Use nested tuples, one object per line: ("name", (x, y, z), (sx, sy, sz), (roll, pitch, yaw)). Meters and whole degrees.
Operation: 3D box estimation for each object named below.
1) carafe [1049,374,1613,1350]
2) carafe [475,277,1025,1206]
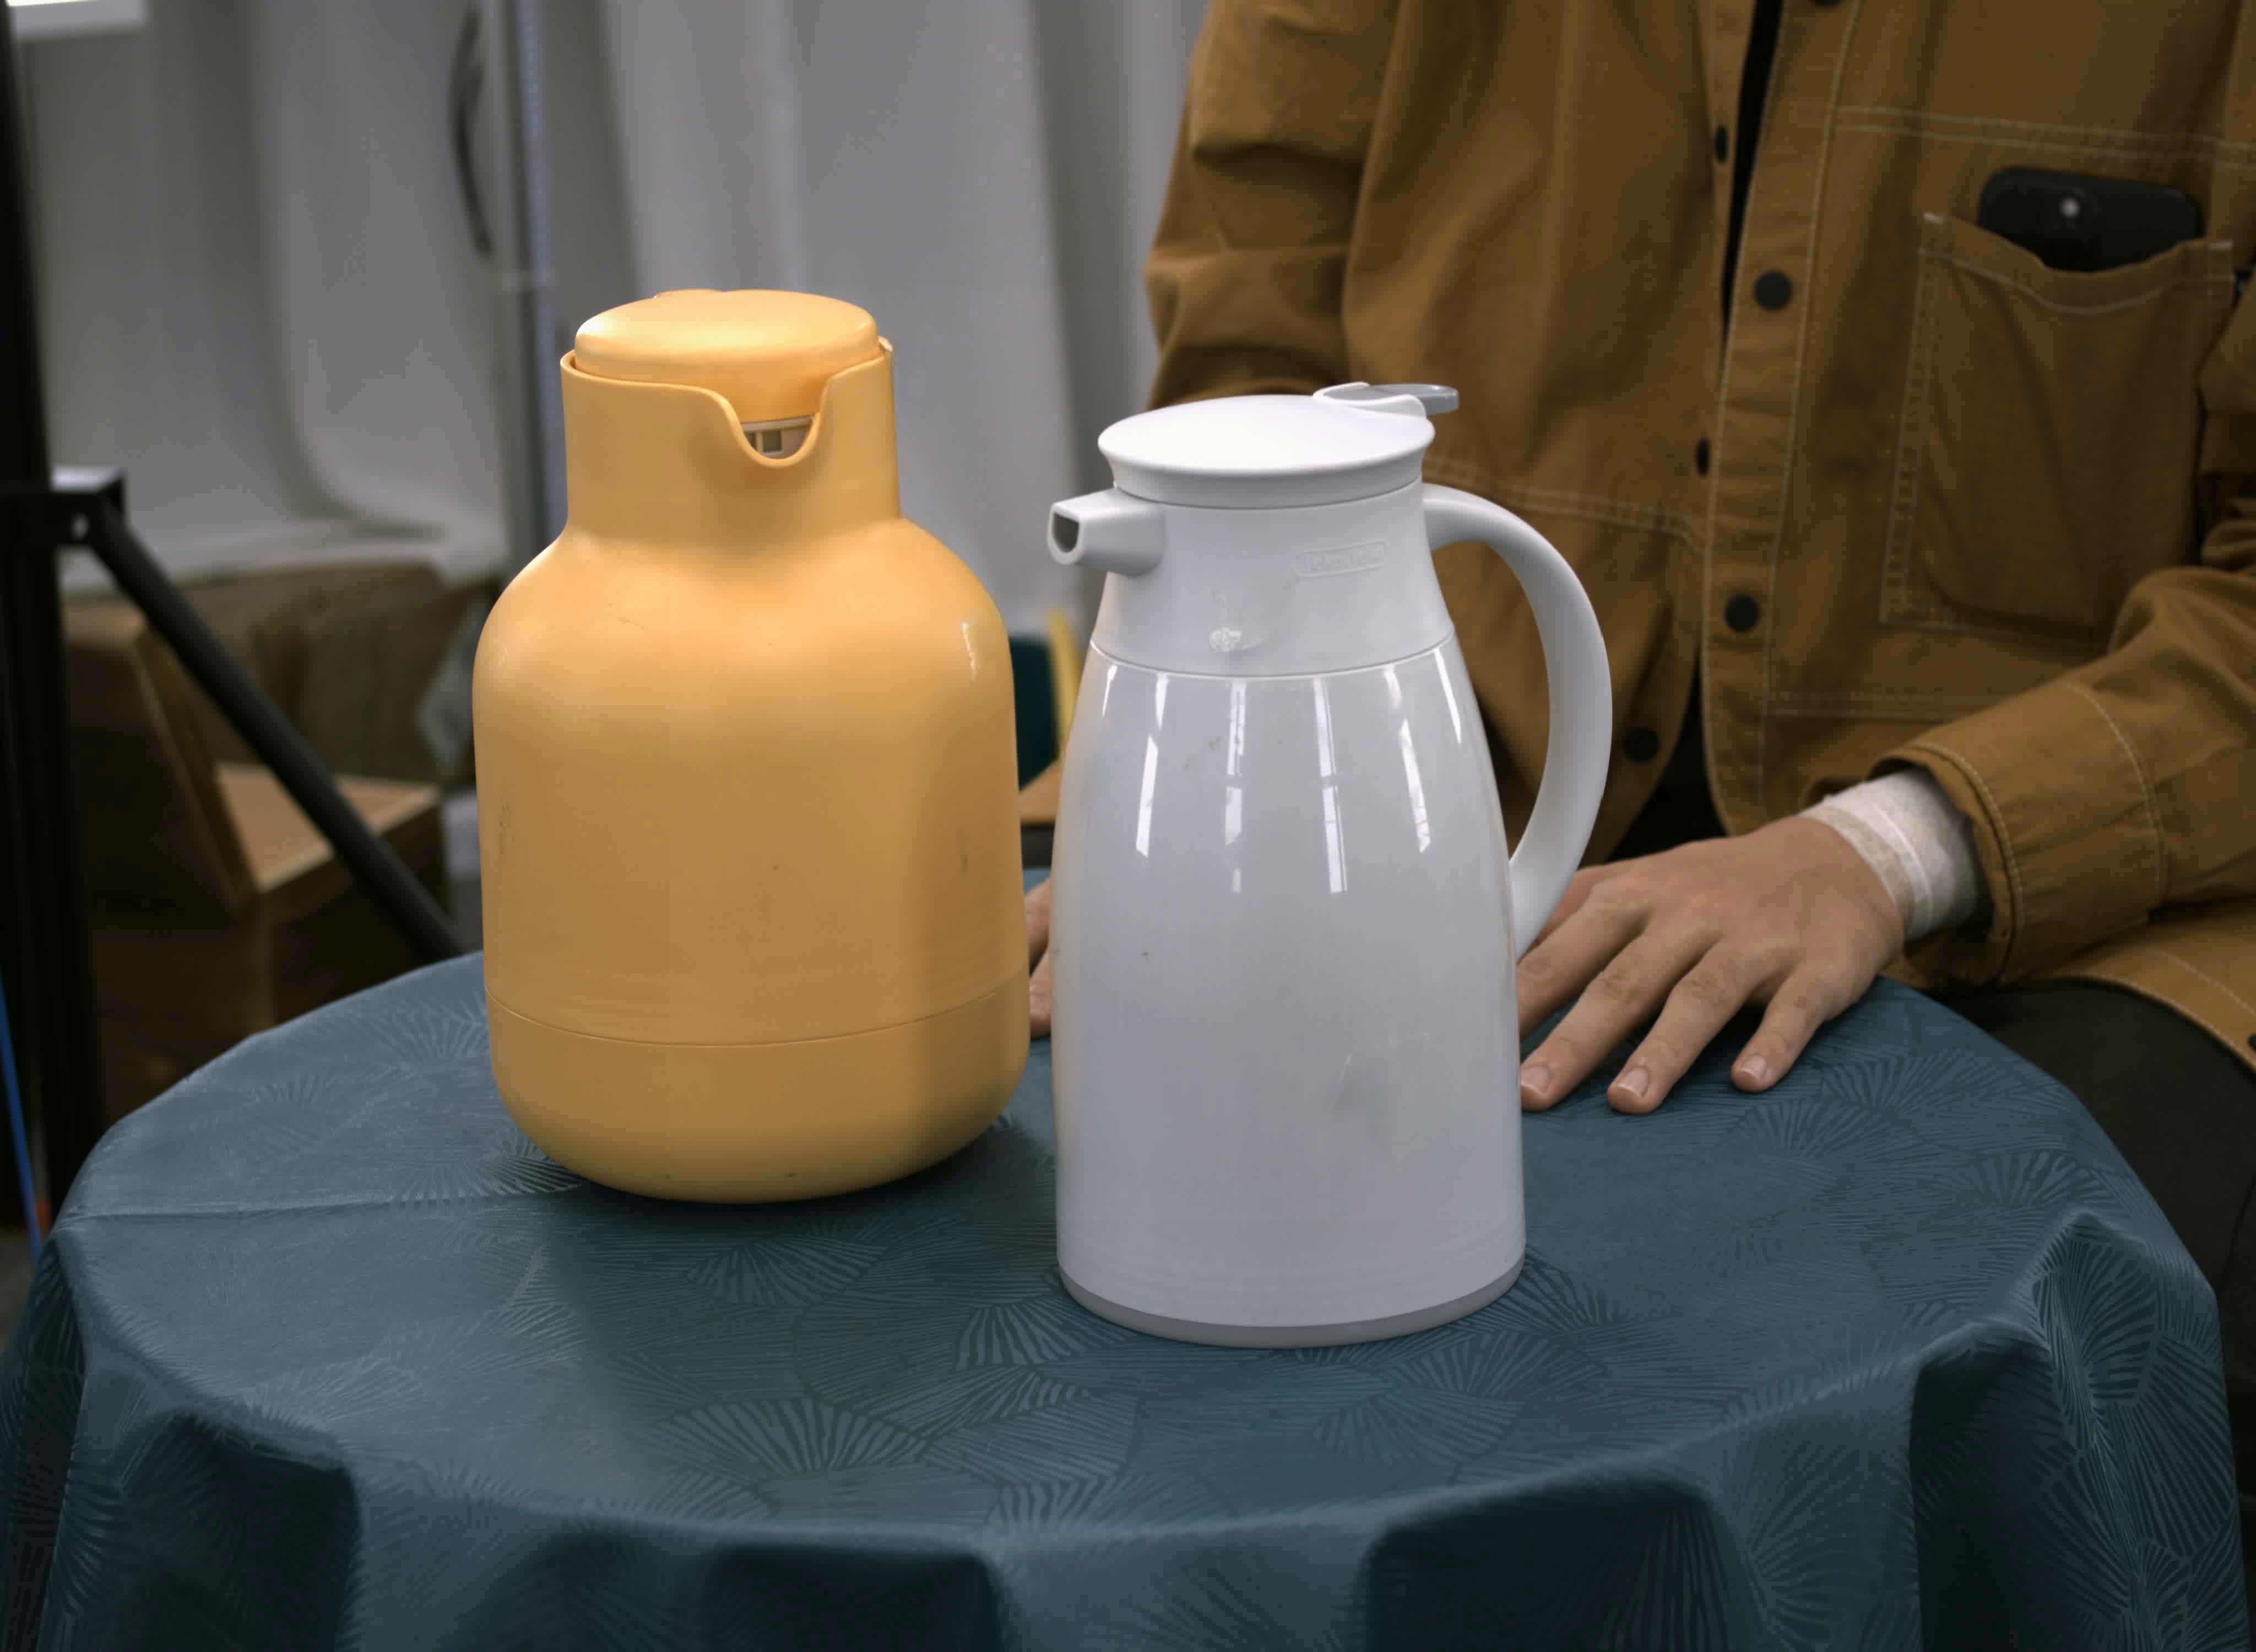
("carafe", (0.058, 0.002, 1.467), (0.164, 0.248, 0.135), (-9, 16, -25))
("carafe", (-0.116, -0.033, 1.598), (0.161, 0.260, 0.205), (-3, 16, -12))
